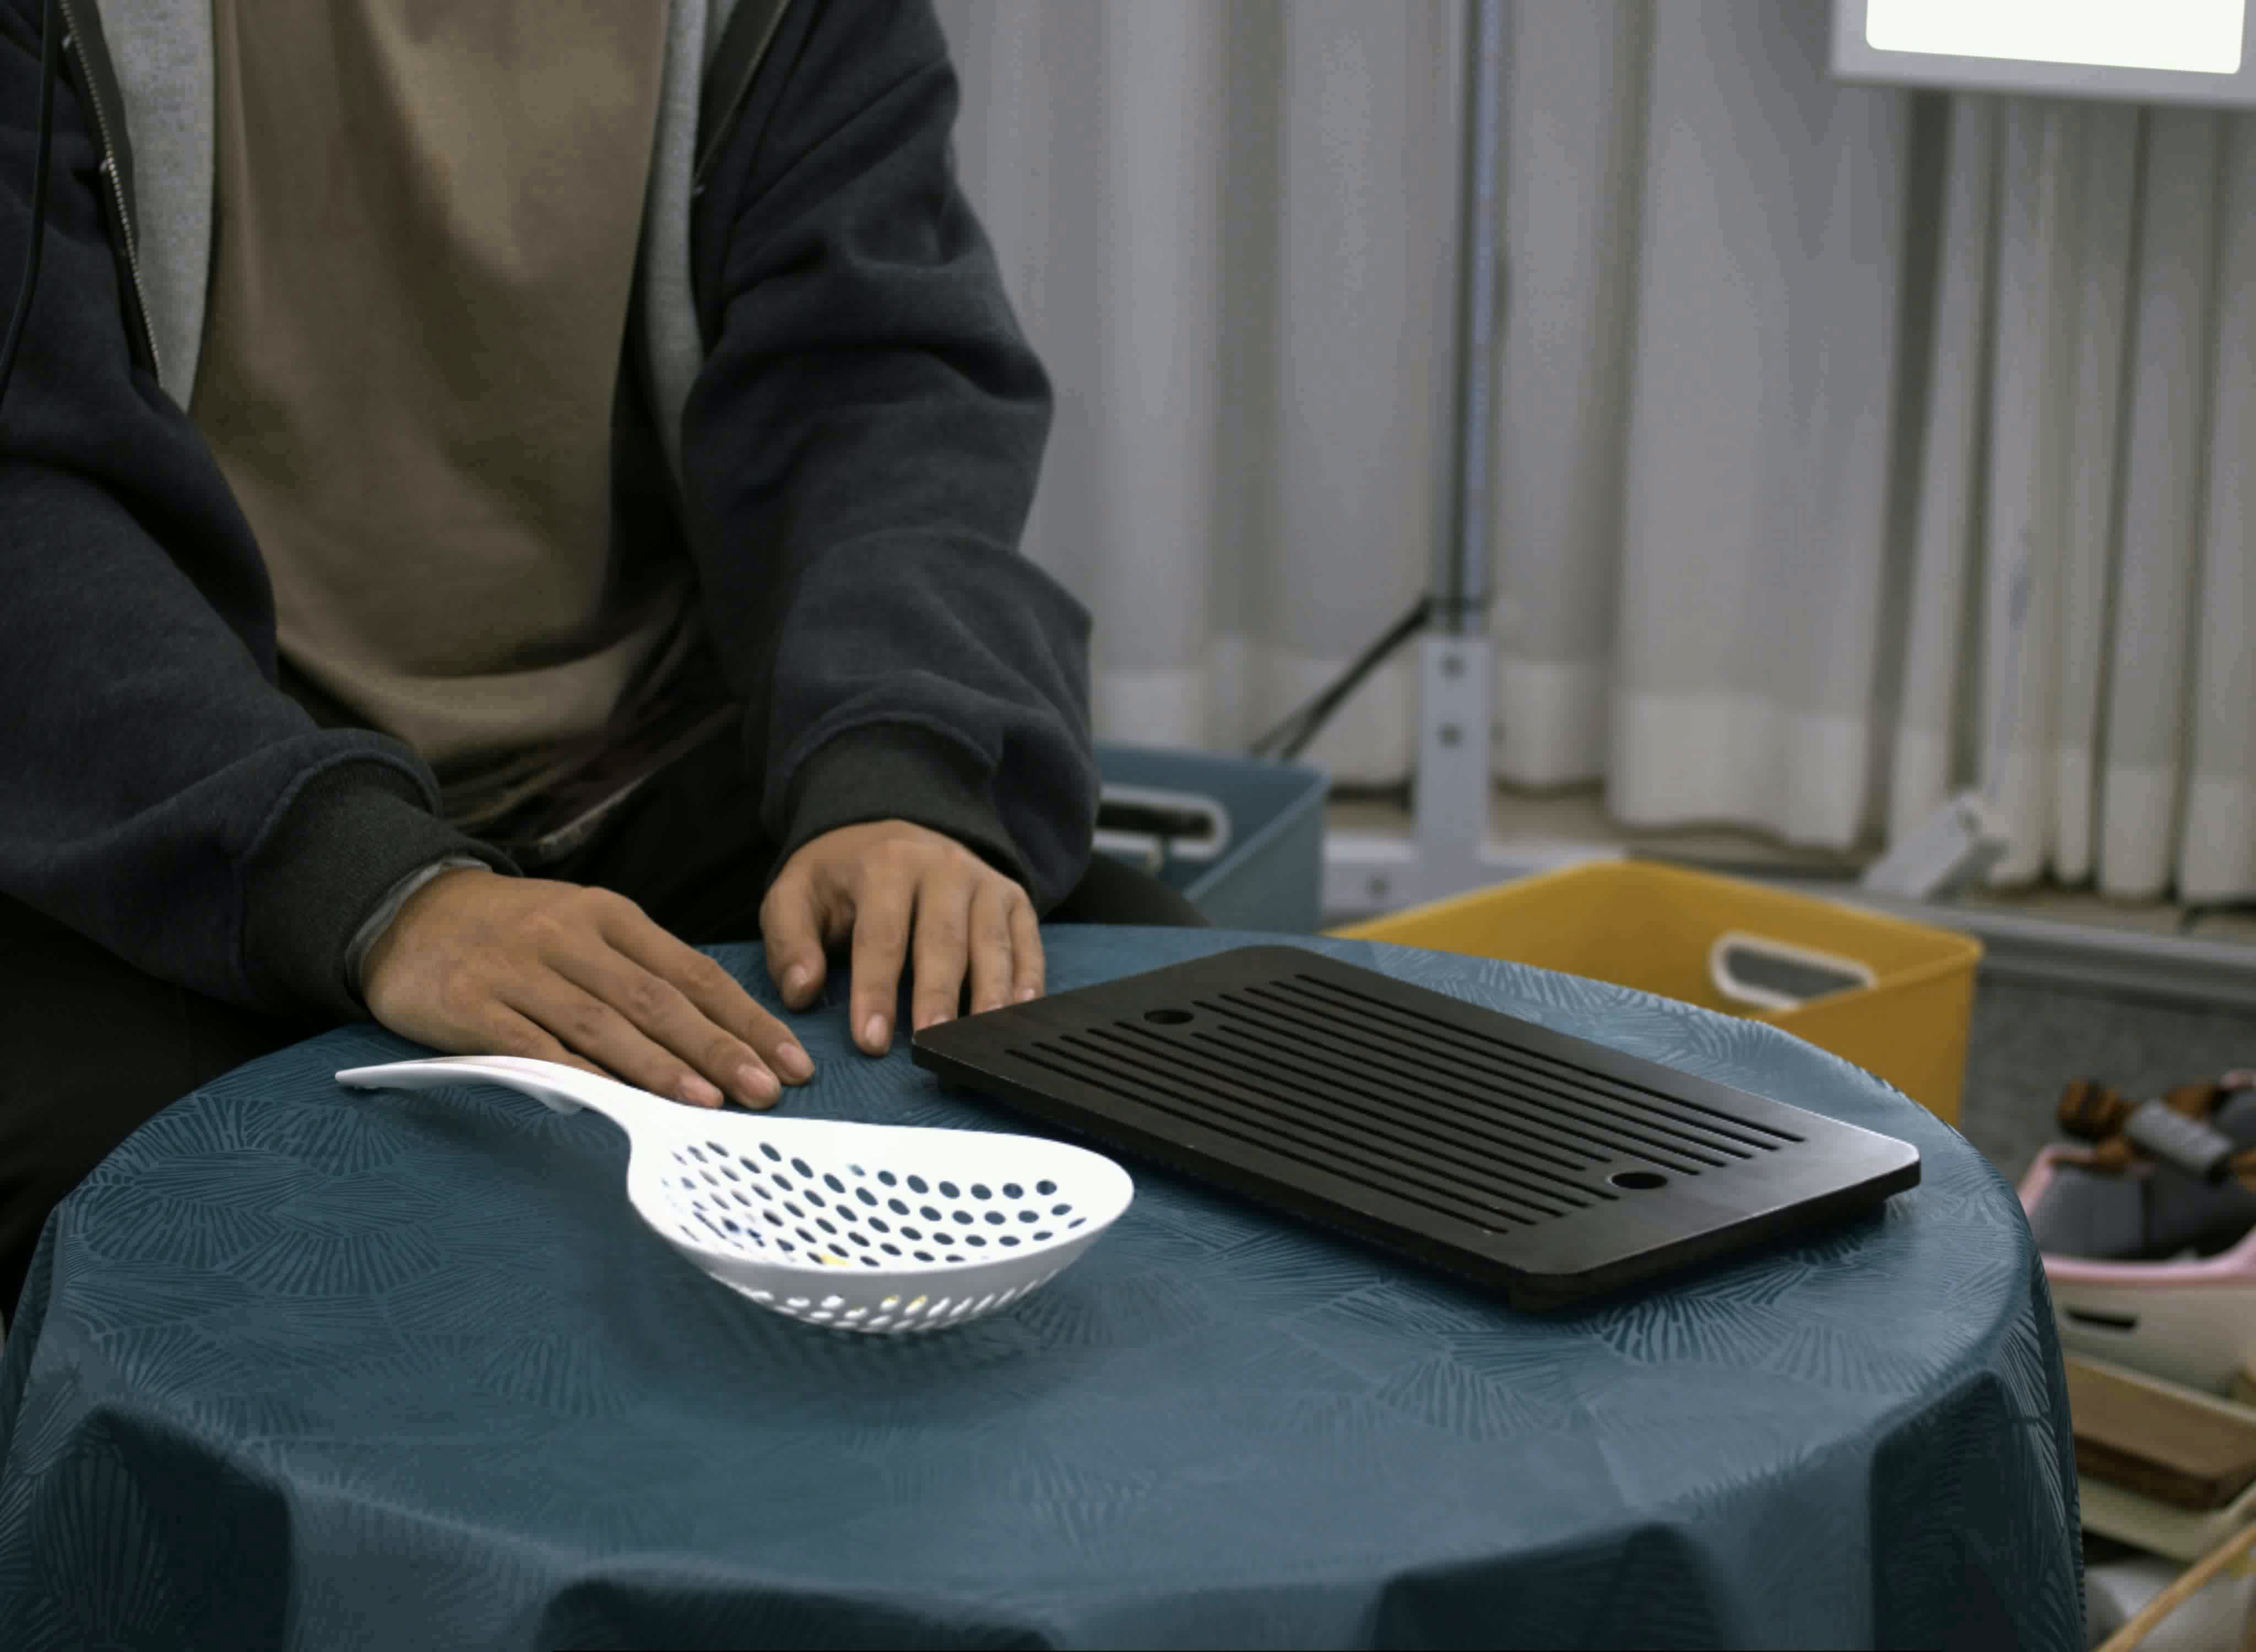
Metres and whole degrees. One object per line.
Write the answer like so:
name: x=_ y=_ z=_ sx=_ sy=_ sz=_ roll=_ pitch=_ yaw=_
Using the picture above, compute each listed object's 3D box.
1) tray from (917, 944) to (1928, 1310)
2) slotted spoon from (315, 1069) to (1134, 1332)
tray: x=0.088 y=0.091 z=1.668 sx=0.171 sy=0.019 sz=0.302 roll=-13 pitch=20 yaw=-40
slotted spoon: x=-0.139 y=0.099 z=1.587 sx=0.137 sy=0.051 sz=0.343 roll=-16 pitch=22 yaw=-39
